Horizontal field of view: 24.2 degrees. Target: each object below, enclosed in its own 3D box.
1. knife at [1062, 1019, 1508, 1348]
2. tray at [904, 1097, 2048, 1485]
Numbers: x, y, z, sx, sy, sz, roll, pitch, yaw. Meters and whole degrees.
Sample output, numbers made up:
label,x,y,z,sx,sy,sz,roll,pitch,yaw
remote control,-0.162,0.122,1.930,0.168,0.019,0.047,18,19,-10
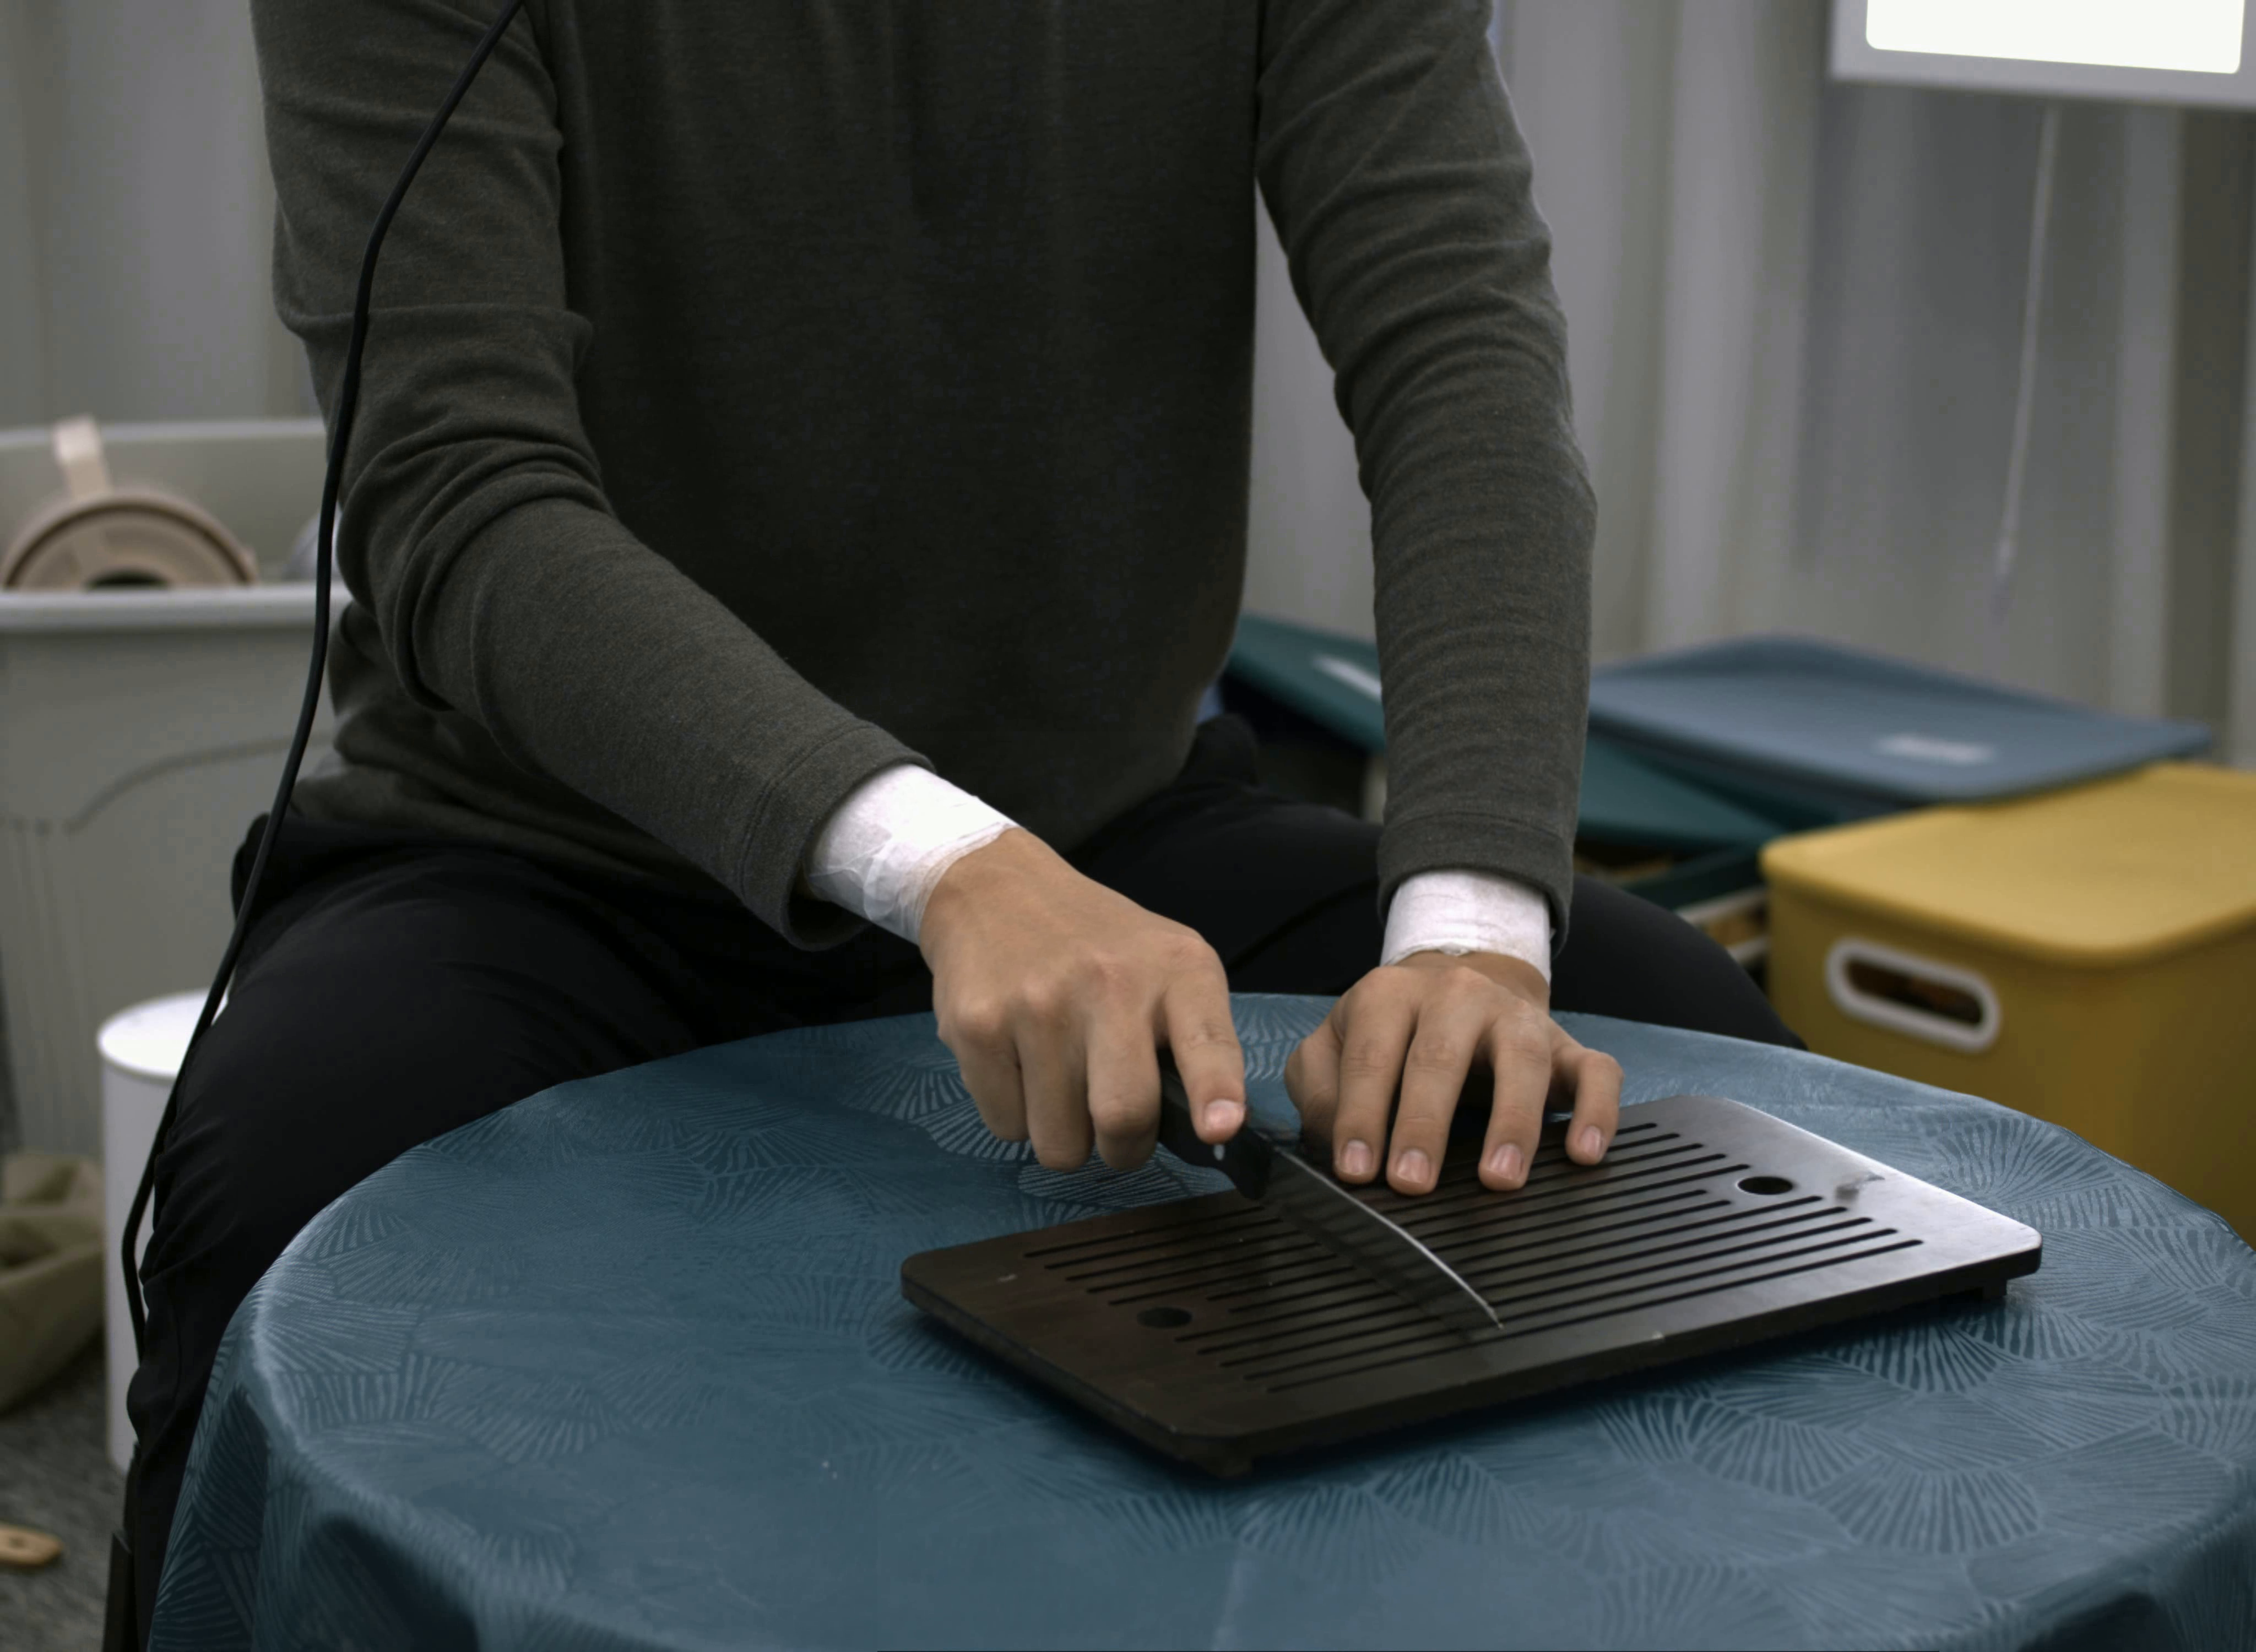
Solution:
label,x,y,z,sx,sy,sz,roll,pitch,yaw
knife,0.044,0.102,1.539,0.016,0.025,0.235,-11,24,-29
tray,0.102,0.131,1.527,0.307,0.019,0.168,-9,18,-32
